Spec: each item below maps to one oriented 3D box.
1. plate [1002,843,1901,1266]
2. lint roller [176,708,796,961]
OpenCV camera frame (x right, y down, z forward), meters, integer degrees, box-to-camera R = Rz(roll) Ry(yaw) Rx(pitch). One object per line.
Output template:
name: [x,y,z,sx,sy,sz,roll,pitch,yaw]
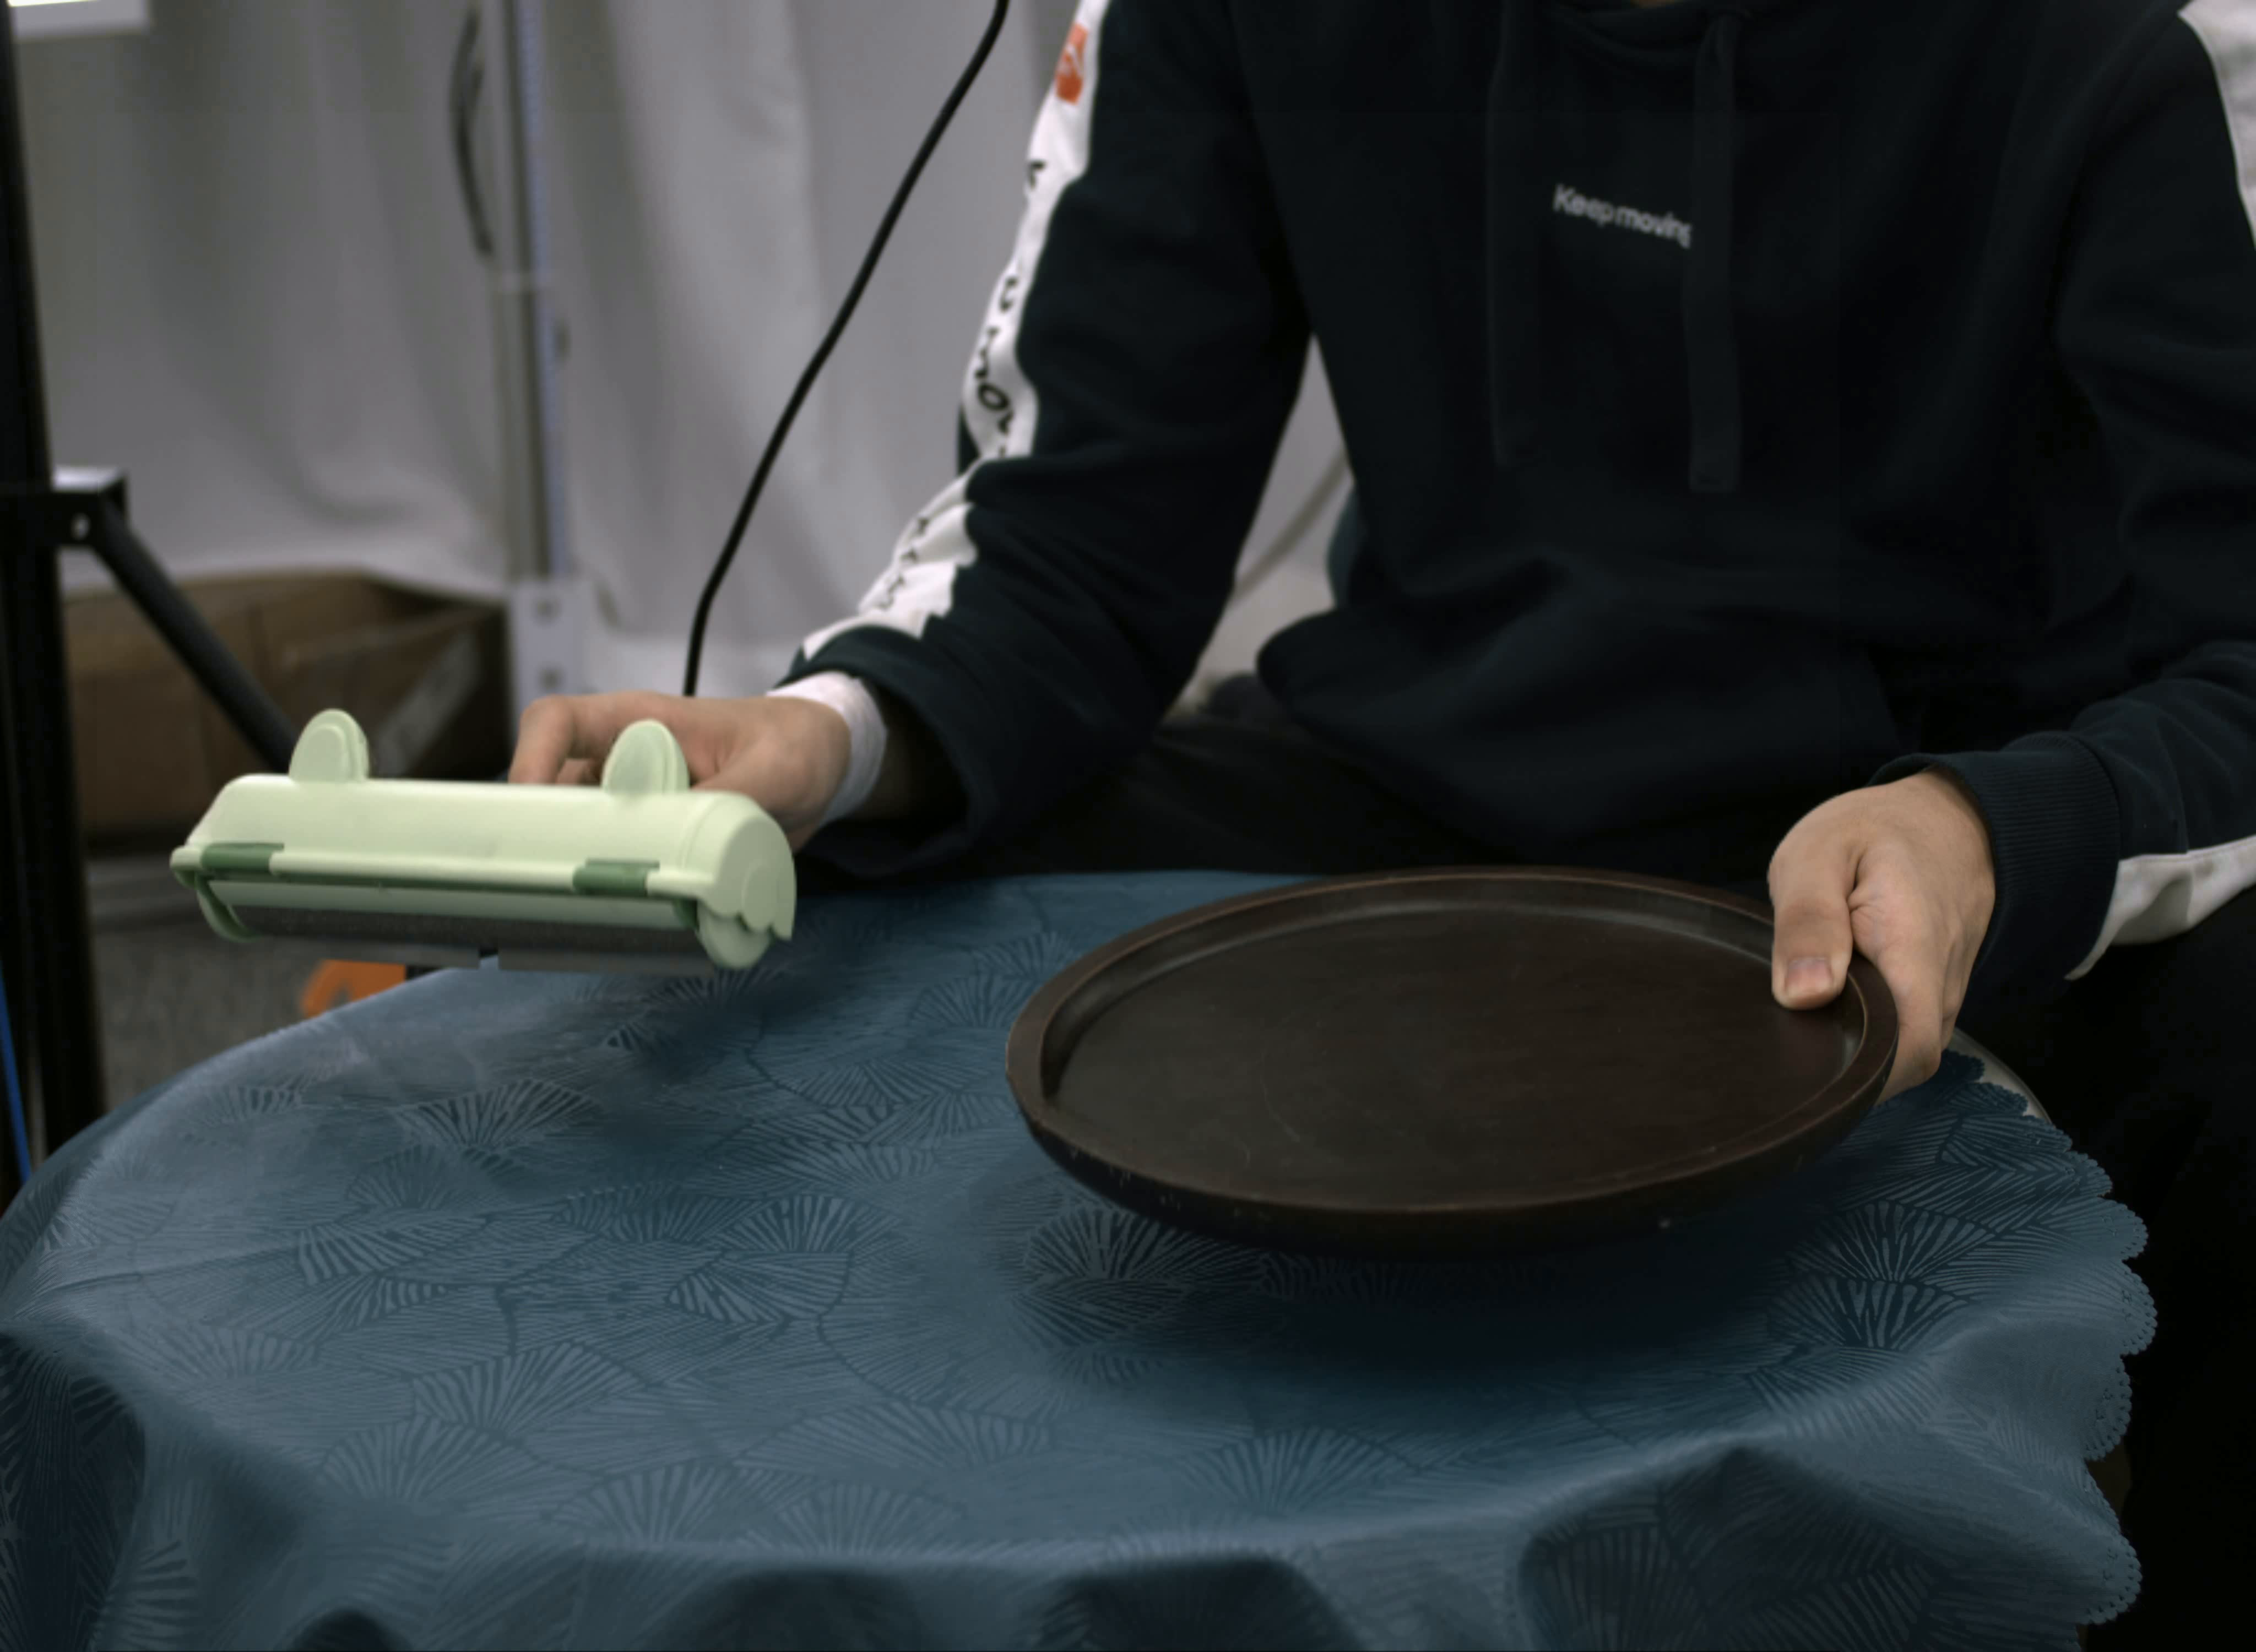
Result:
plate: [0.091,0.065,1.493,0.254,0.029,0.256,-6,21,1]
lint roller: [-0.175,-0.009,1.703,0.202,0.082,0.180,1,16,28]
